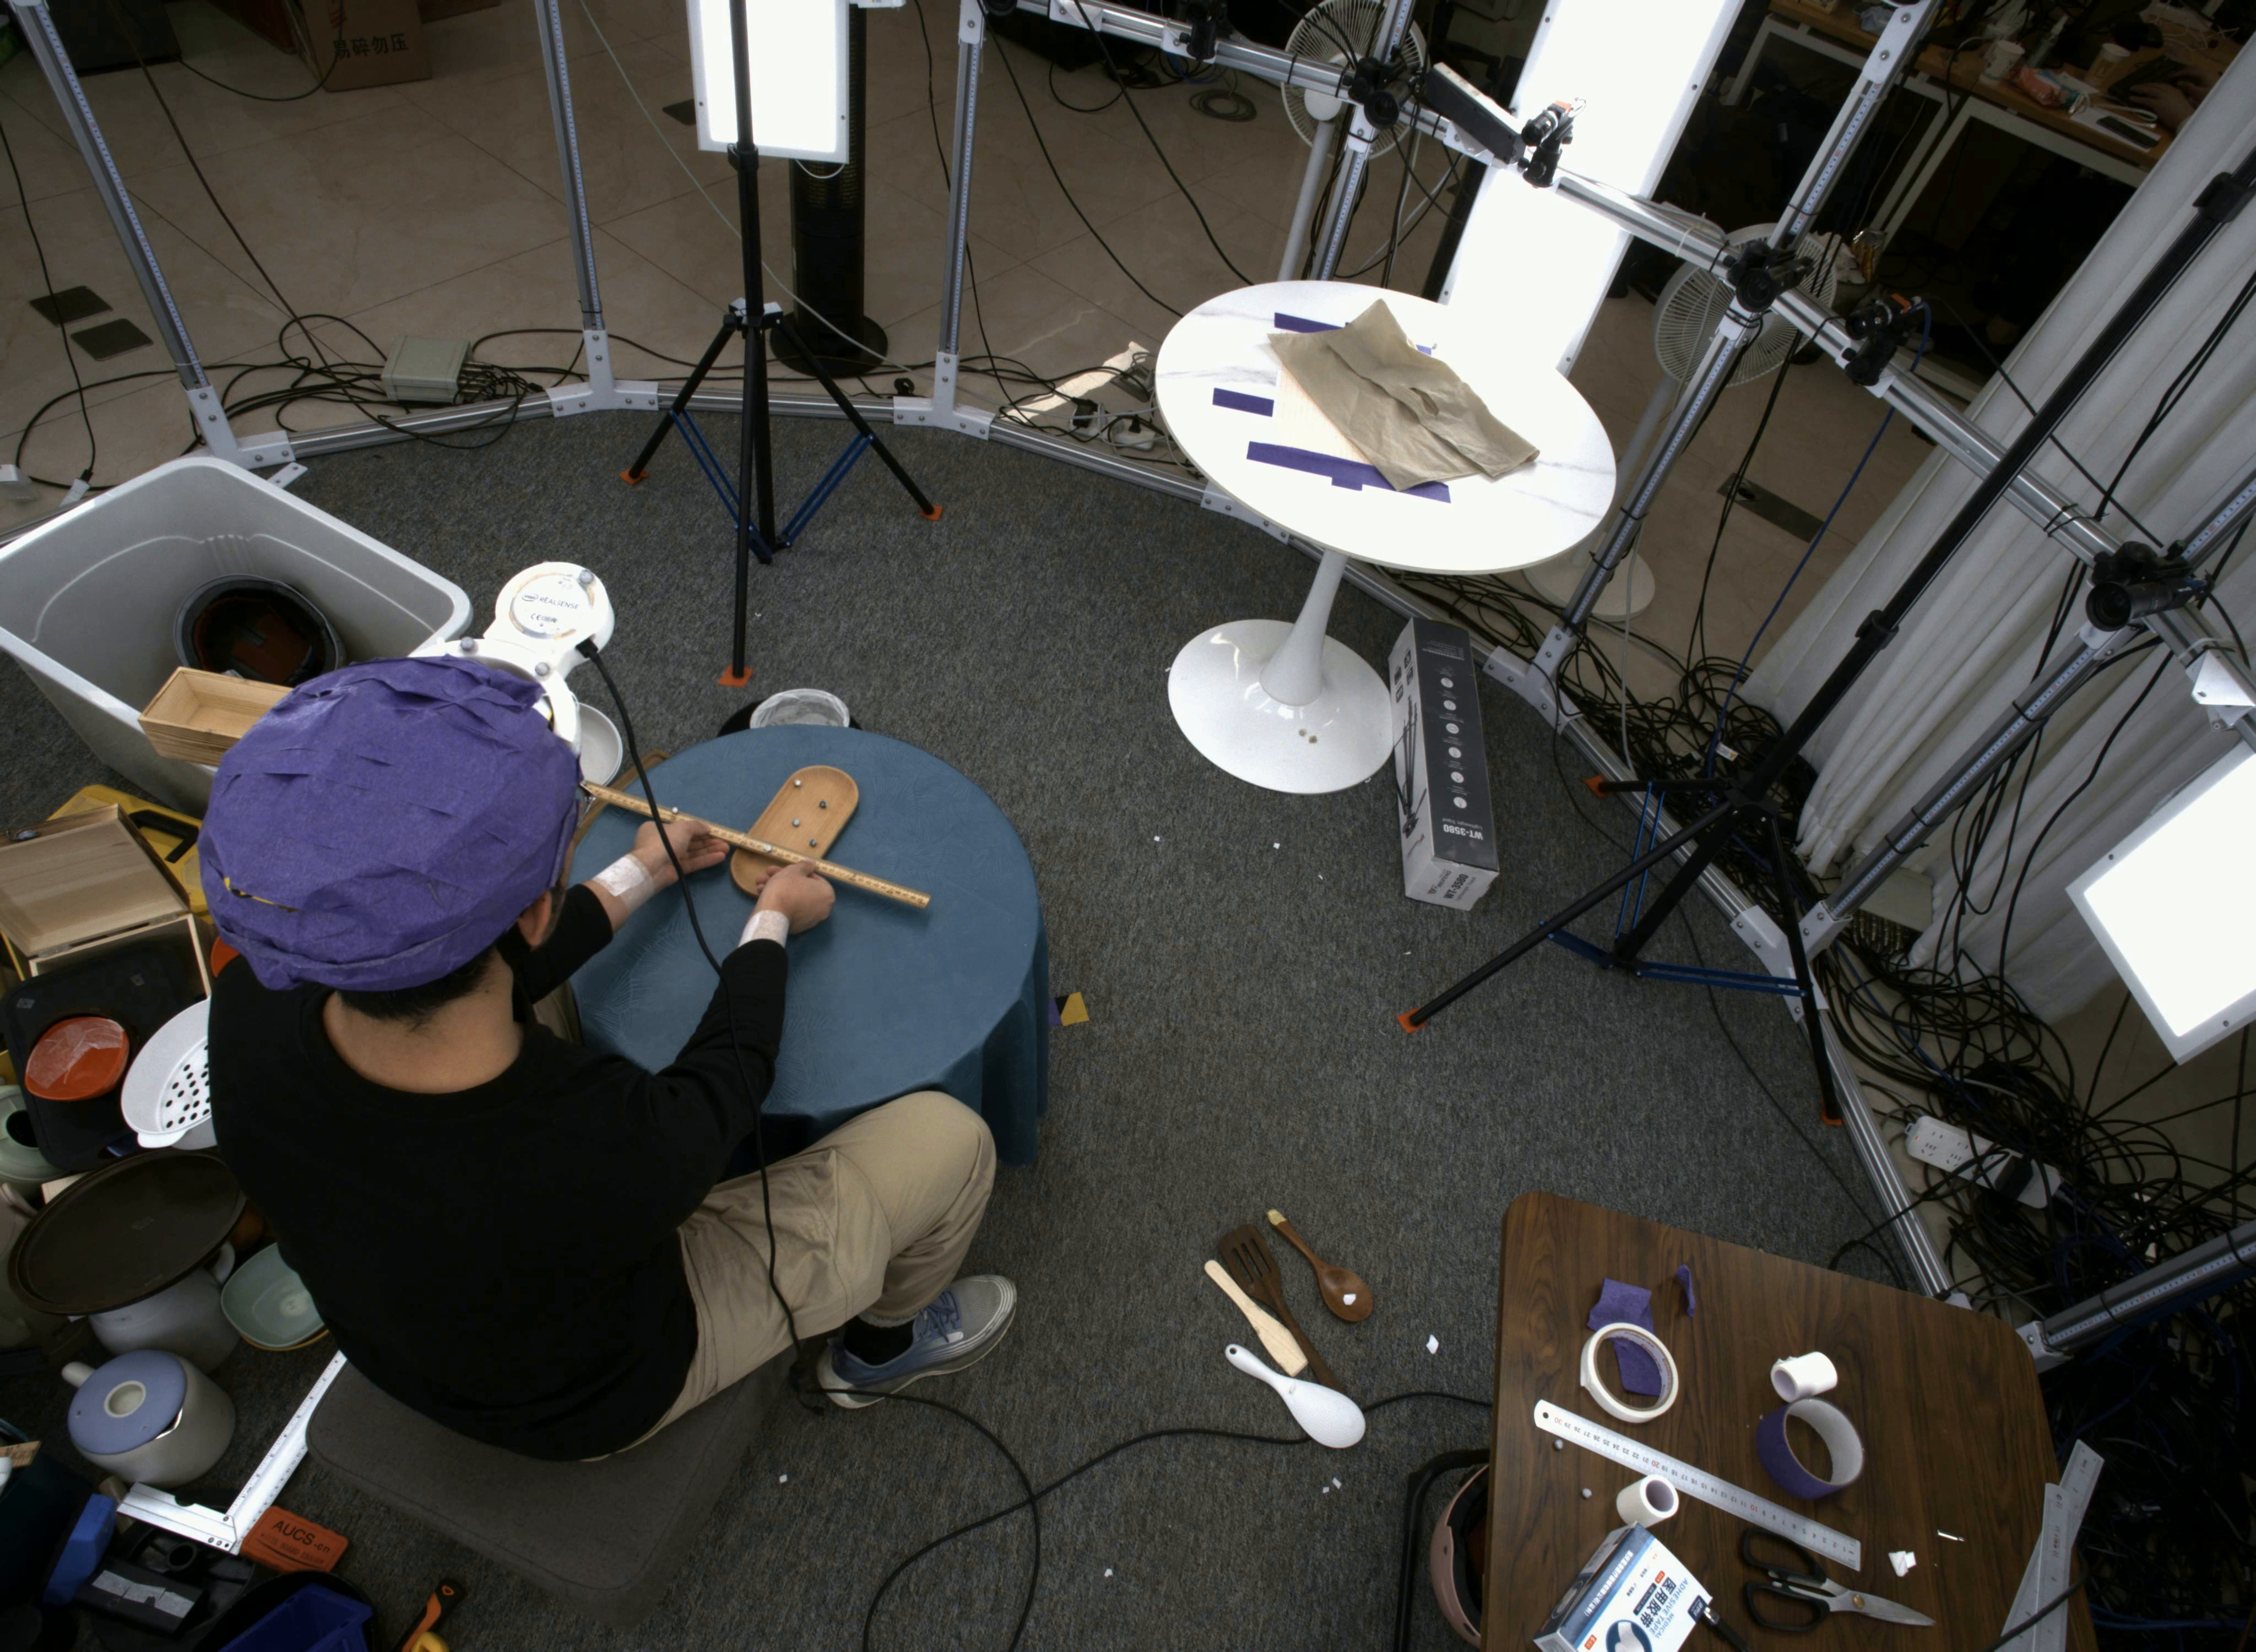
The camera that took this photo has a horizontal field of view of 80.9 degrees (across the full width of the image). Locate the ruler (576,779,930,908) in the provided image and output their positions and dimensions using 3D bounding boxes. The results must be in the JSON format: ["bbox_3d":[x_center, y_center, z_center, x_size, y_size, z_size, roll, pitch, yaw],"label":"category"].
[{"bbox_3d":[-0.490,0.019,1.658,0.495,0.006,0.026,18,35,1],"label":"ruler"}]

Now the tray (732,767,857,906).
[{"bbox_3d":[-0.434,0.010,1.698,0.100,0.021,0.229,21,53,2],"label":"tray"}]
